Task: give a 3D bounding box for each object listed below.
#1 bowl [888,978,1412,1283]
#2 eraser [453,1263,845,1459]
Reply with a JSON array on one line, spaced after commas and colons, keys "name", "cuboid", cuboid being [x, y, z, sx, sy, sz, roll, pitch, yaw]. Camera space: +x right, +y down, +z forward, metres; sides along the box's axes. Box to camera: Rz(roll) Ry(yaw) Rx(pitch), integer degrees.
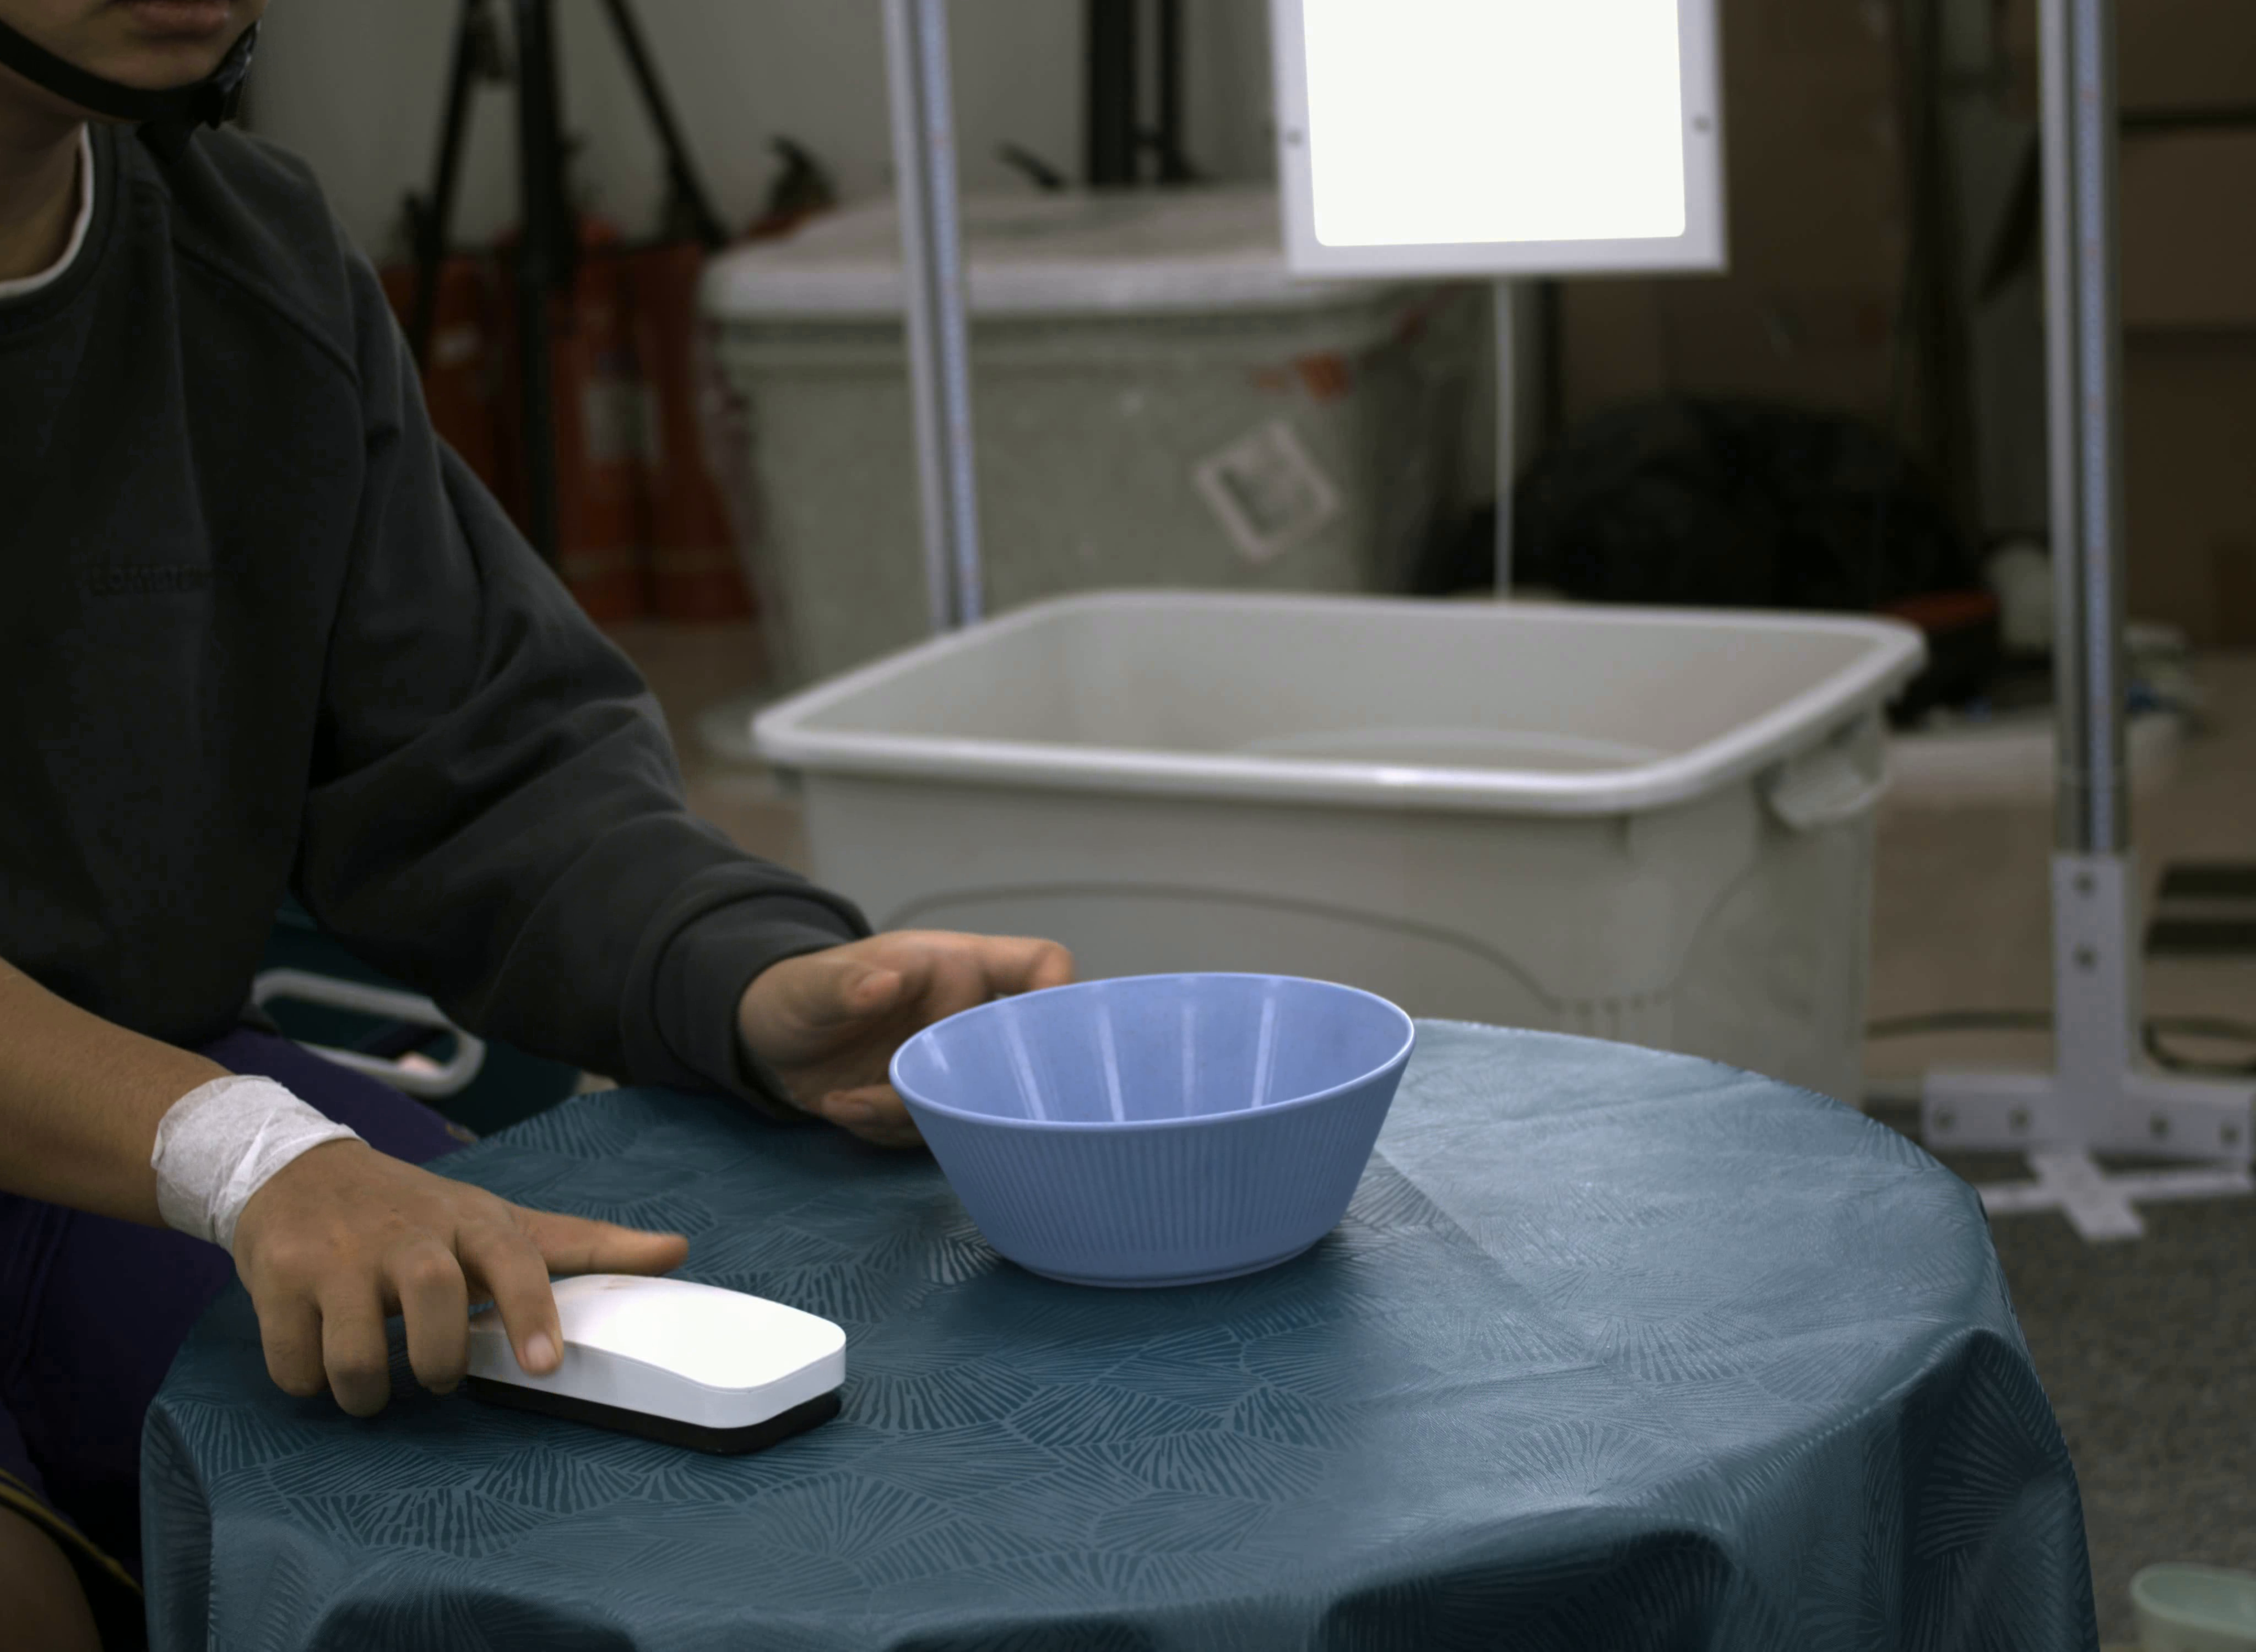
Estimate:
[{"name": "bowl", "cuboid": [0.009, 0.104, 1.837, 0.175, 0.070, 0.176, -4, 13, 0]}, {"name": "eraser", "cuboid": [-0.149, 0.165, 1.728, 0.134, 0.034, 0.062, 10, 18, 41]}]
